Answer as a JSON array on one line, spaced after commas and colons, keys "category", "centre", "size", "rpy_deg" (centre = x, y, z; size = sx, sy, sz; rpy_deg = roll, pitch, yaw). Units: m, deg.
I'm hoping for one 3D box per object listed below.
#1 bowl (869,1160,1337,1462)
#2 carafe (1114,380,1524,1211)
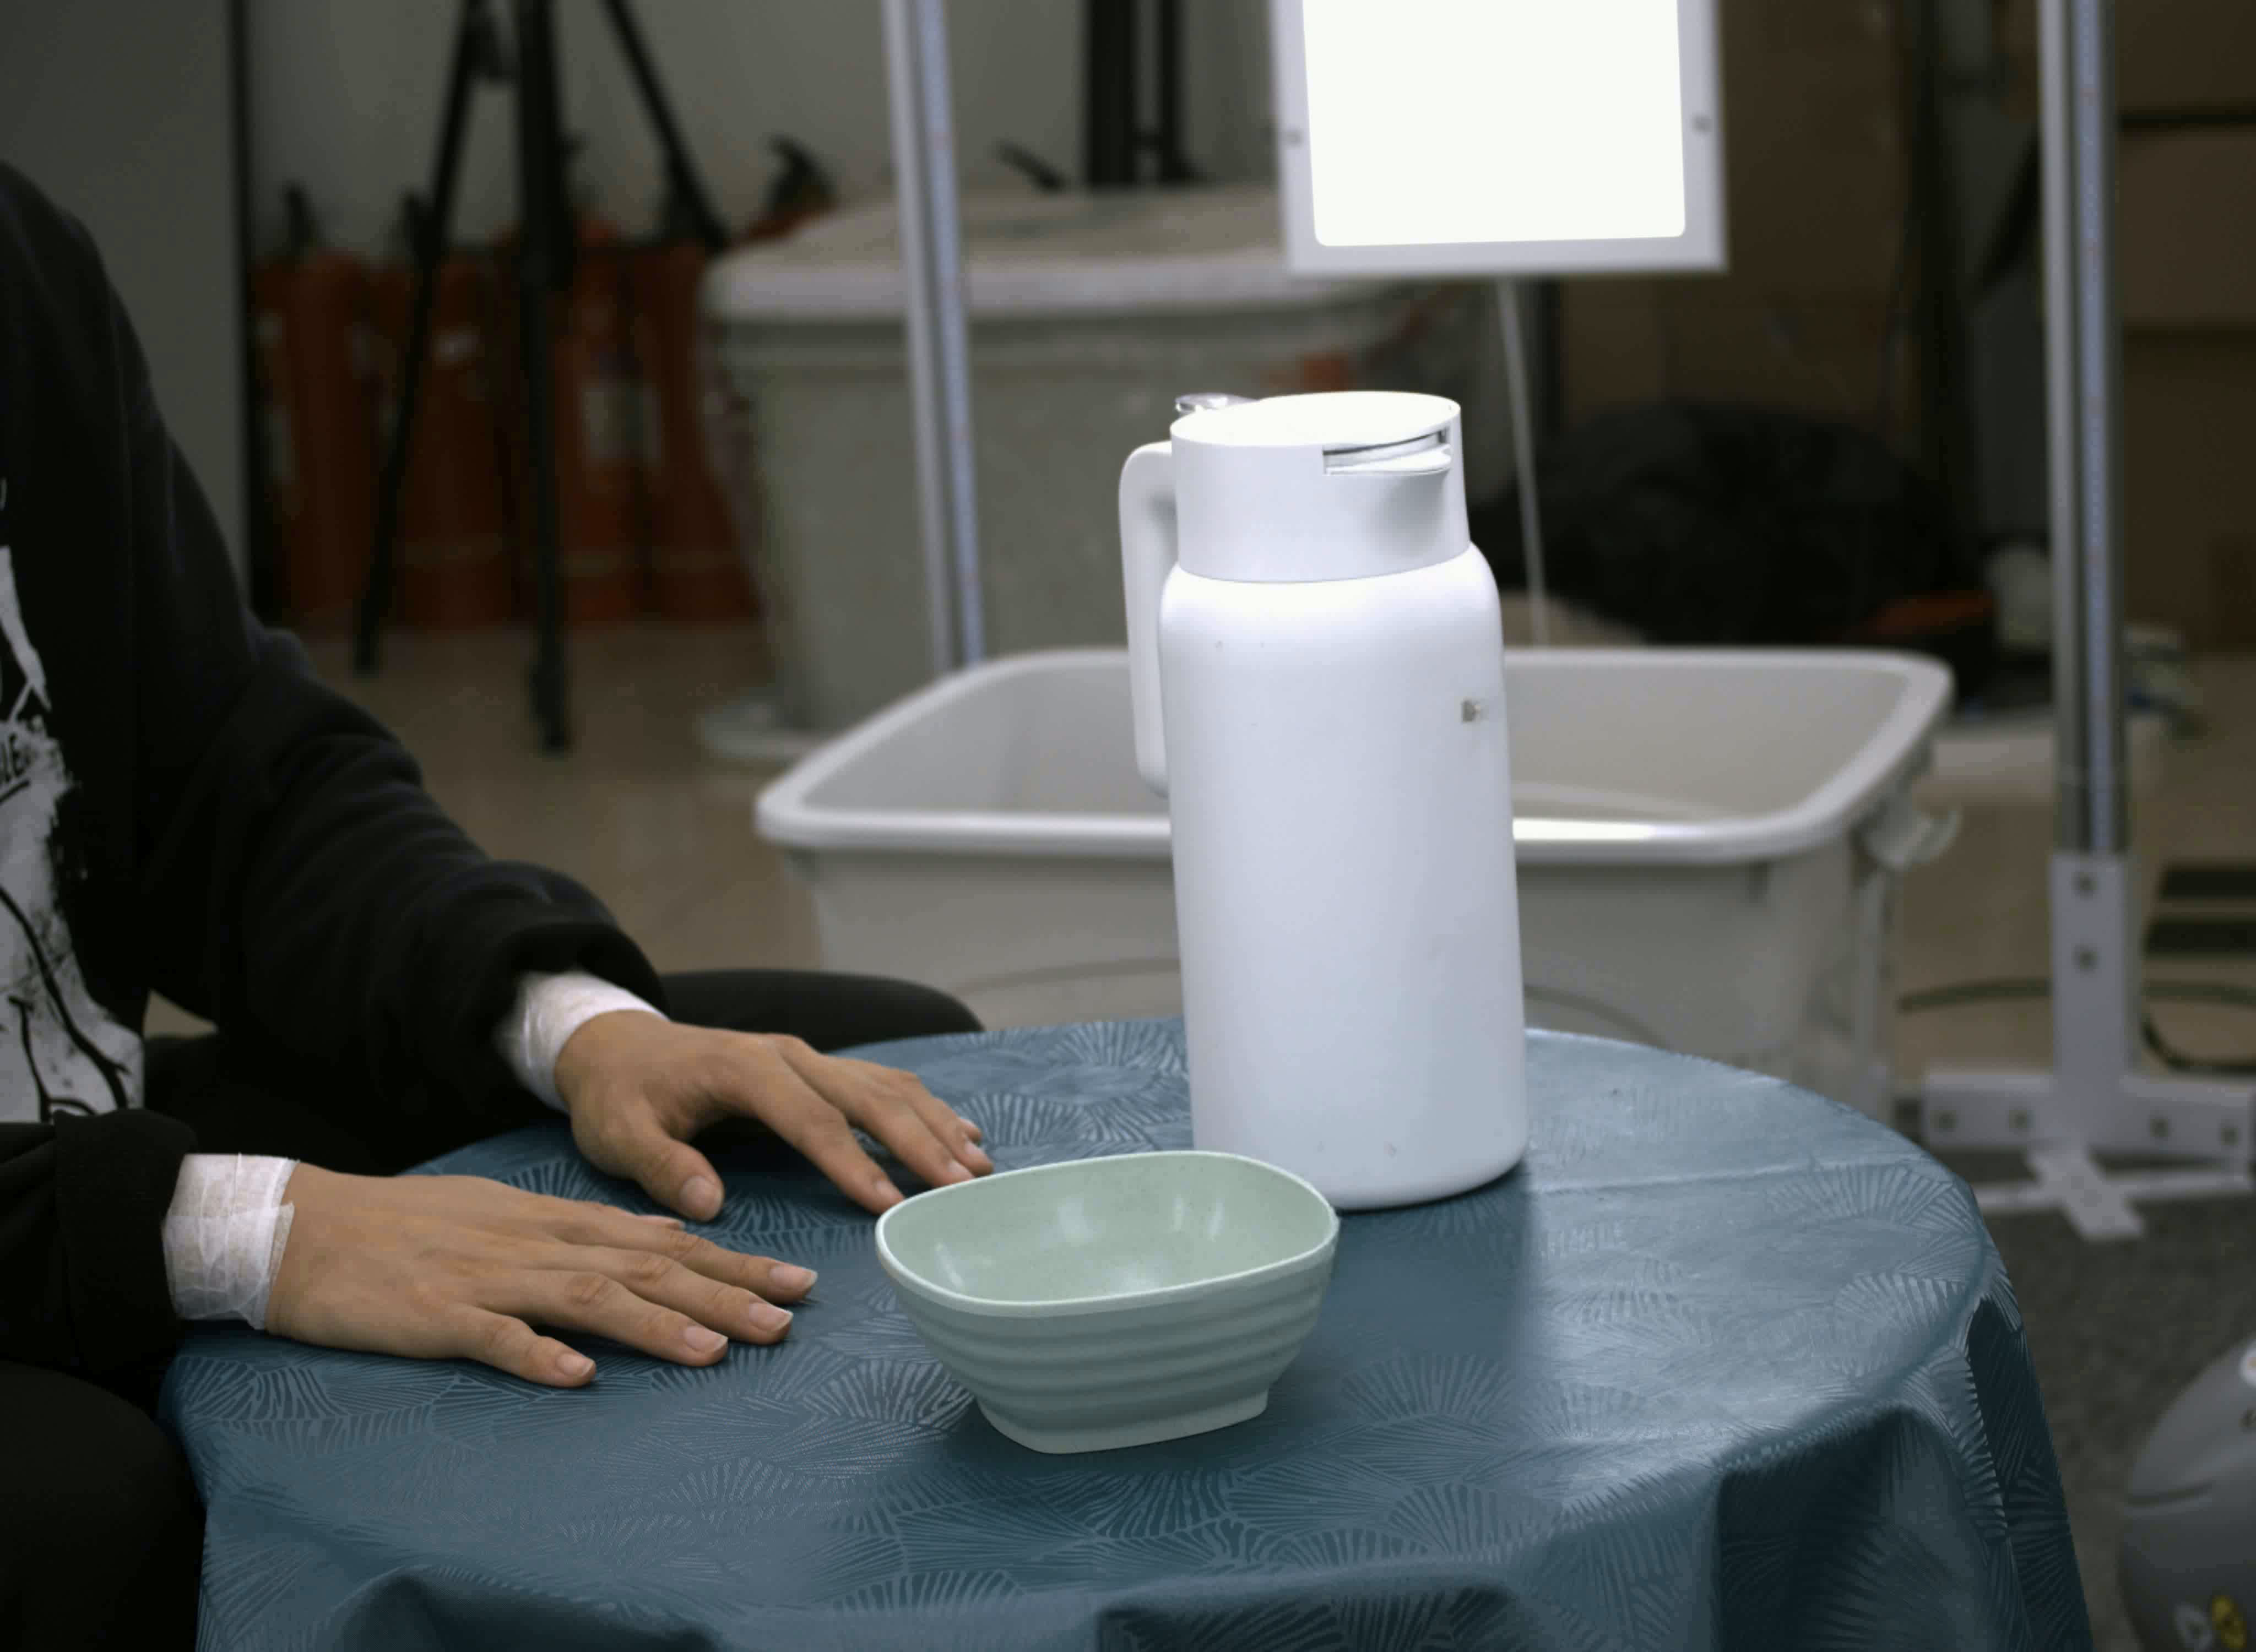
[{"category": "bowl", "centre": [-0.006, 0.152, 1.689], "size": [0.151, 0.059, 0.151], "rpy_deg": [-5, 13, 0]}, {"category": "carafe", "centre": [0.060, -0.013, 1.884], "size": [0.121, 0.270, 0.176], "rpy_deg": [-16, 18, -32]}]
